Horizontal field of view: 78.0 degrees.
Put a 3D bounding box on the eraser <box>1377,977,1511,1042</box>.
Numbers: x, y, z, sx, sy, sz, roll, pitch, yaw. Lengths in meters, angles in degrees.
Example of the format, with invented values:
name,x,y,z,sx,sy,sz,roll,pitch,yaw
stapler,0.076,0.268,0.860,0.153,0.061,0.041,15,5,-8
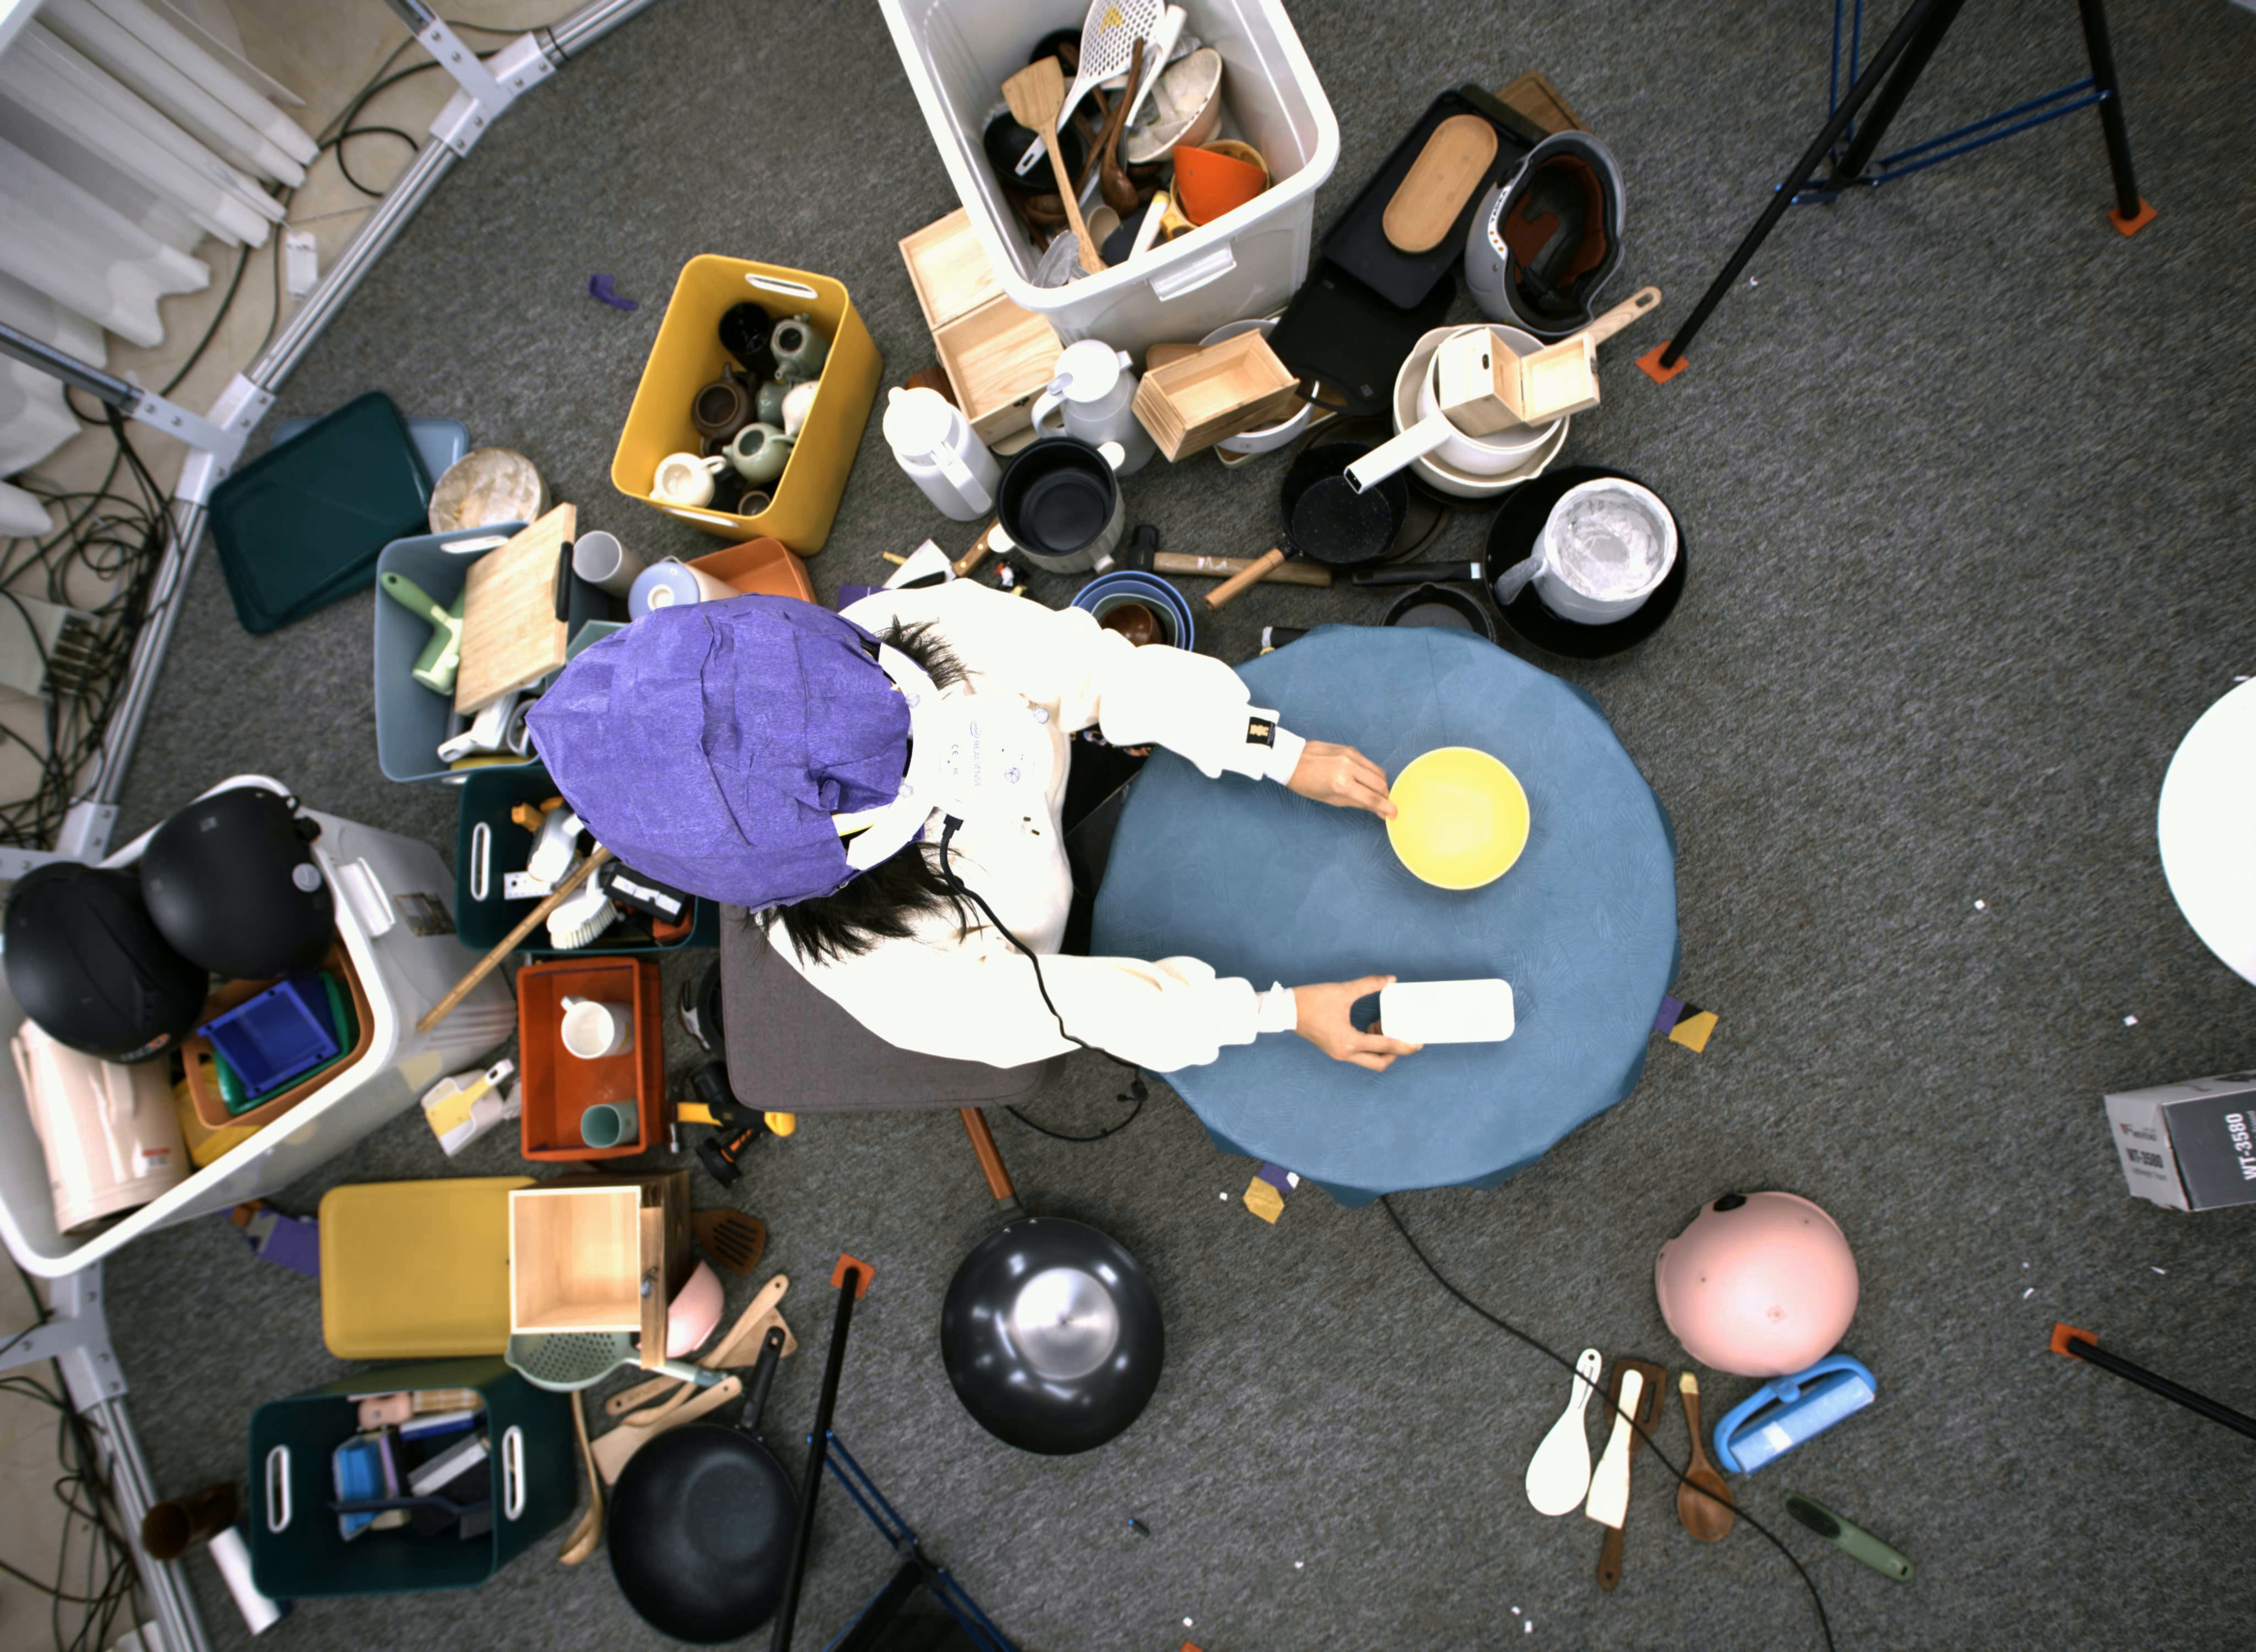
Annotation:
name,x,y,z,sx,sy,sz,roll,pitch,yaw
eraser,0.320,0.183,1.399,0.132,0.034,0.063,-4,87,12

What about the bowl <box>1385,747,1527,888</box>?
name,x,y,z,sx,sy,sz,roll,pitch,yaw
bowl,0.333,-0.009,1.420,0.145,0.060,0.145,0,88,2
